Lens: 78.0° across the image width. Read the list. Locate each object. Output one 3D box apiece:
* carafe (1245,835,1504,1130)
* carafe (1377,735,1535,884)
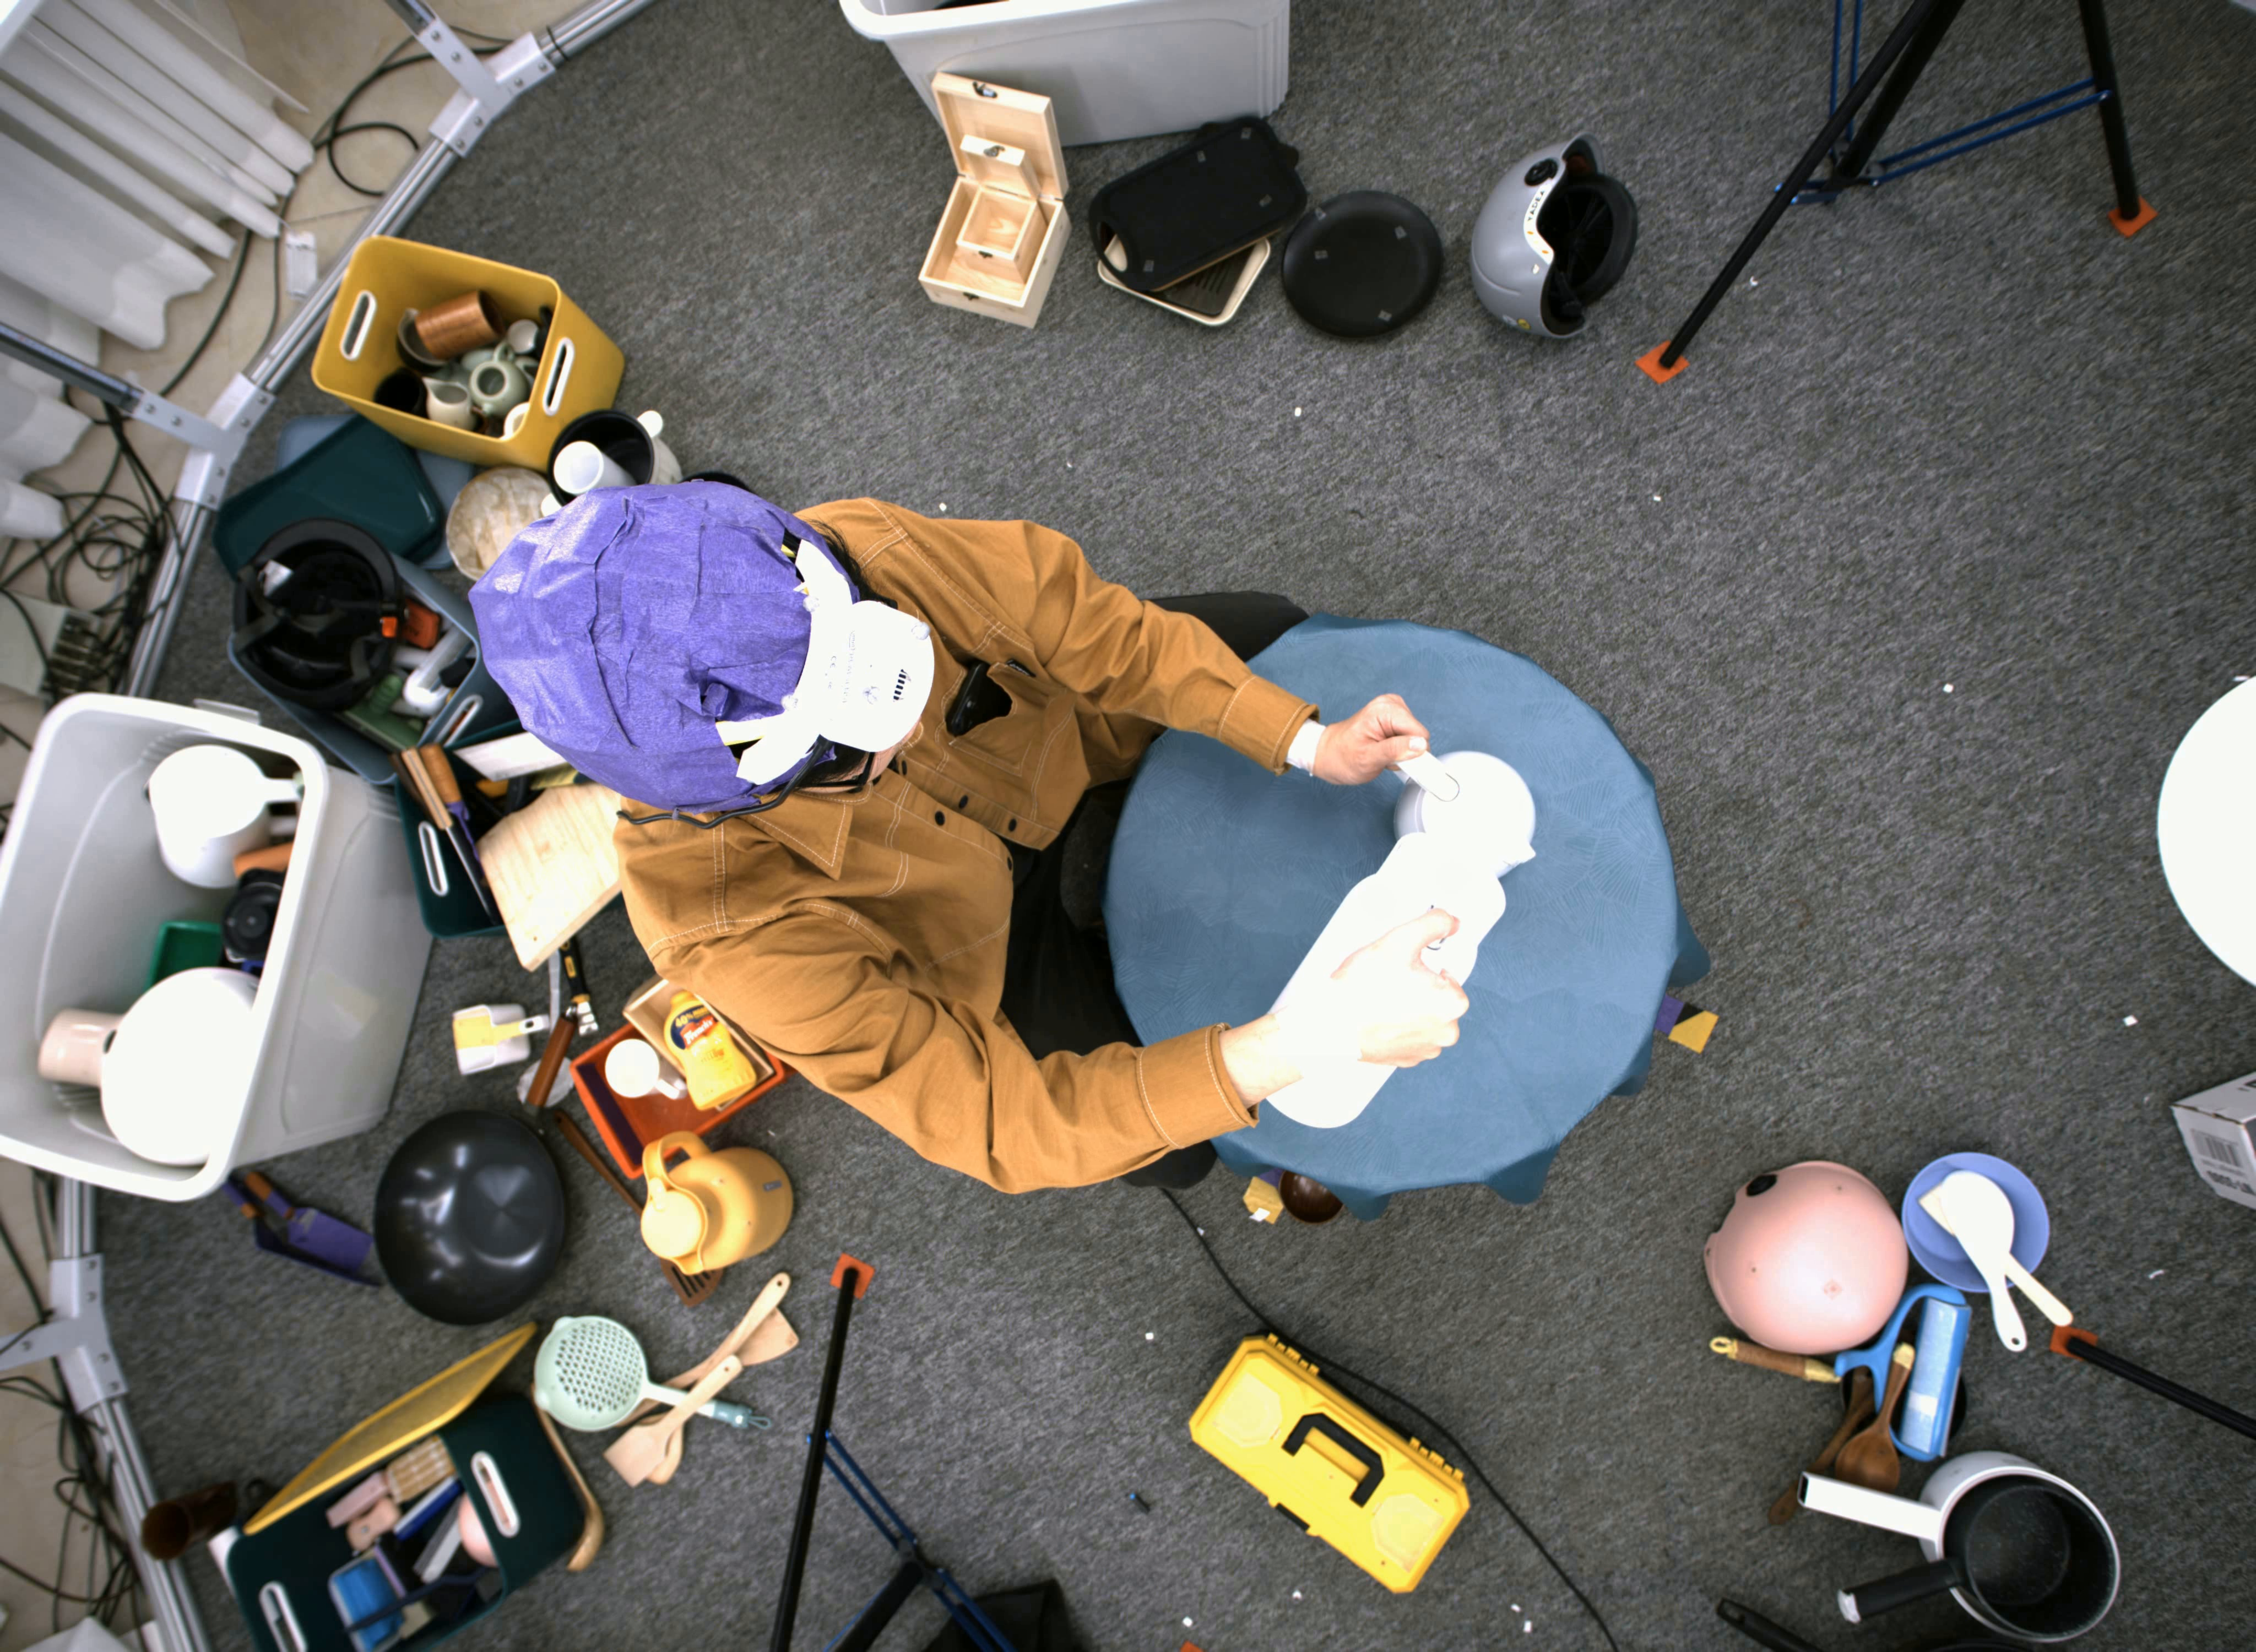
[{"bbox_3d":[0.199,0.144,1.152,0.124,0.168,0.276,30,130,0],"label":"carafe"},{"bbox_3d":[0.302,-0.020,1.290,0.167,0.248,0.133,43,97,9],"label":"carafe"}]
